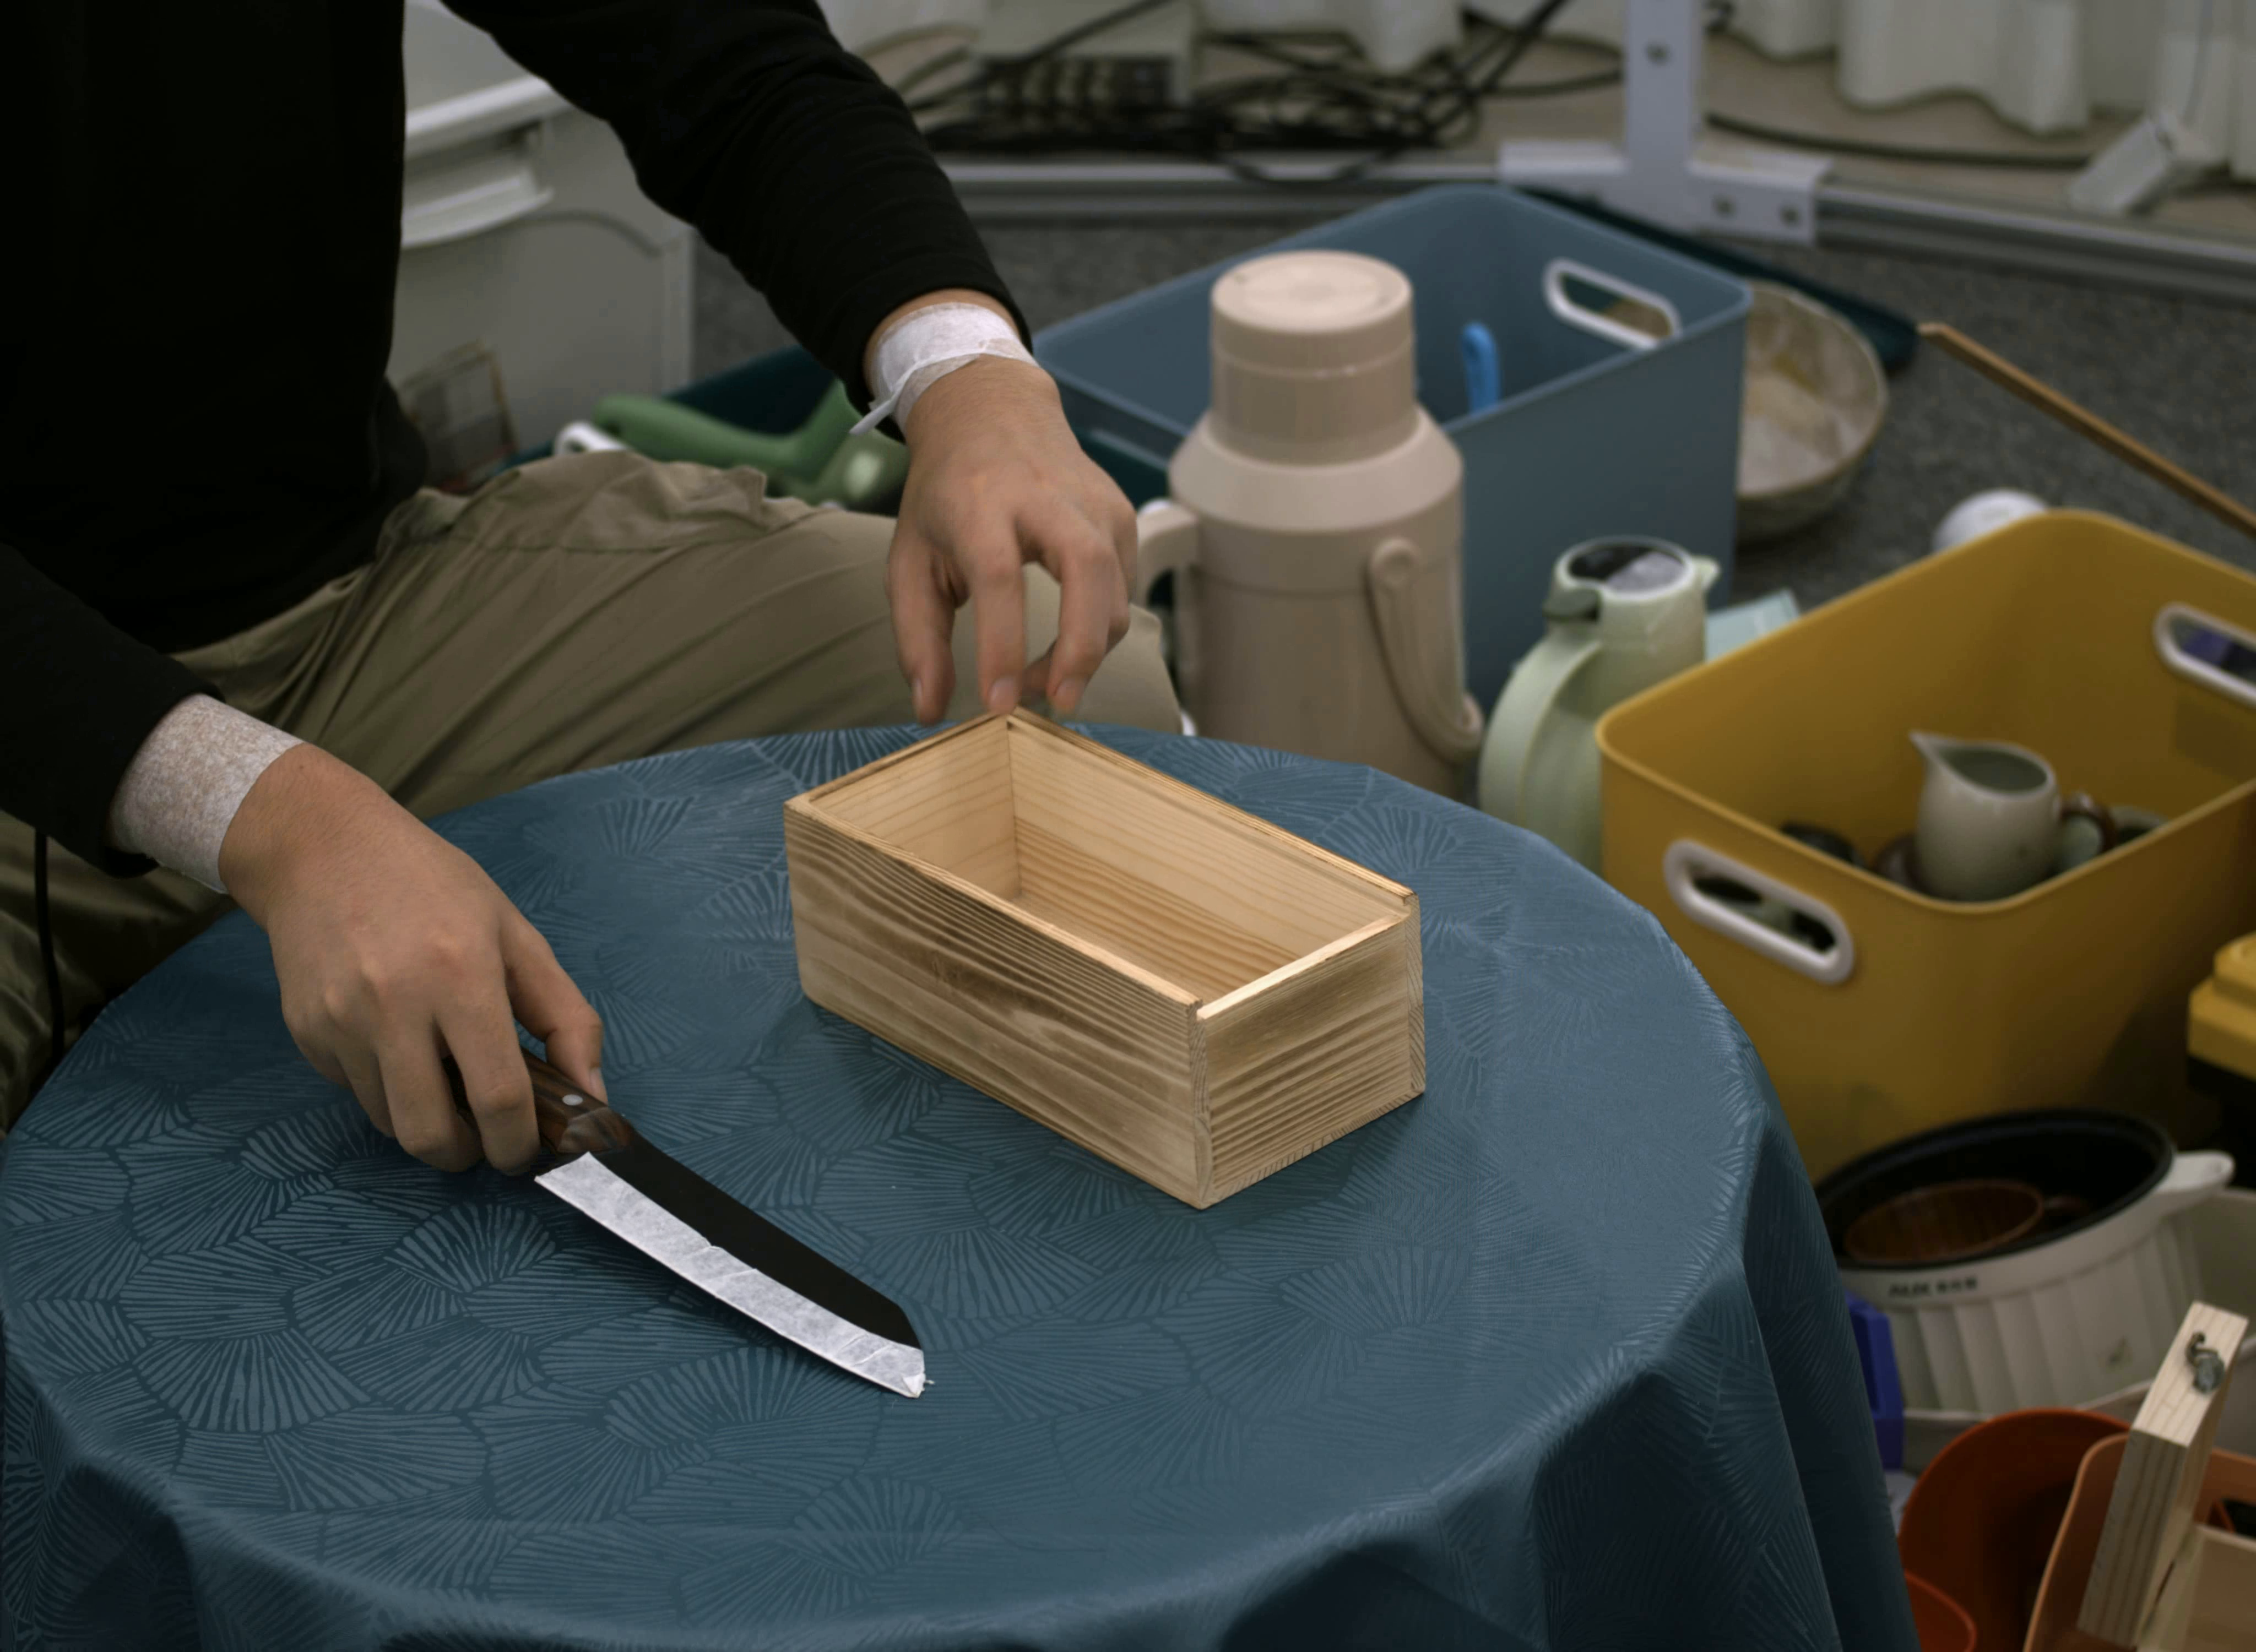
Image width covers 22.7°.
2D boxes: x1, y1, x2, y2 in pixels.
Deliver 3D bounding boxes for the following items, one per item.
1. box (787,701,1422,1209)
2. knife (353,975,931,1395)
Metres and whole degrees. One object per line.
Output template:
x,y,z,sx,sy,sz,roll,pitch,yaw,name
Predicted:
-0.010,0.041,1.933,0.108,0.079,0.211,-24,34,-36,box
-0.163,0.118,1.846,0.051,0.020,0.289,-22,40,-38,knife
